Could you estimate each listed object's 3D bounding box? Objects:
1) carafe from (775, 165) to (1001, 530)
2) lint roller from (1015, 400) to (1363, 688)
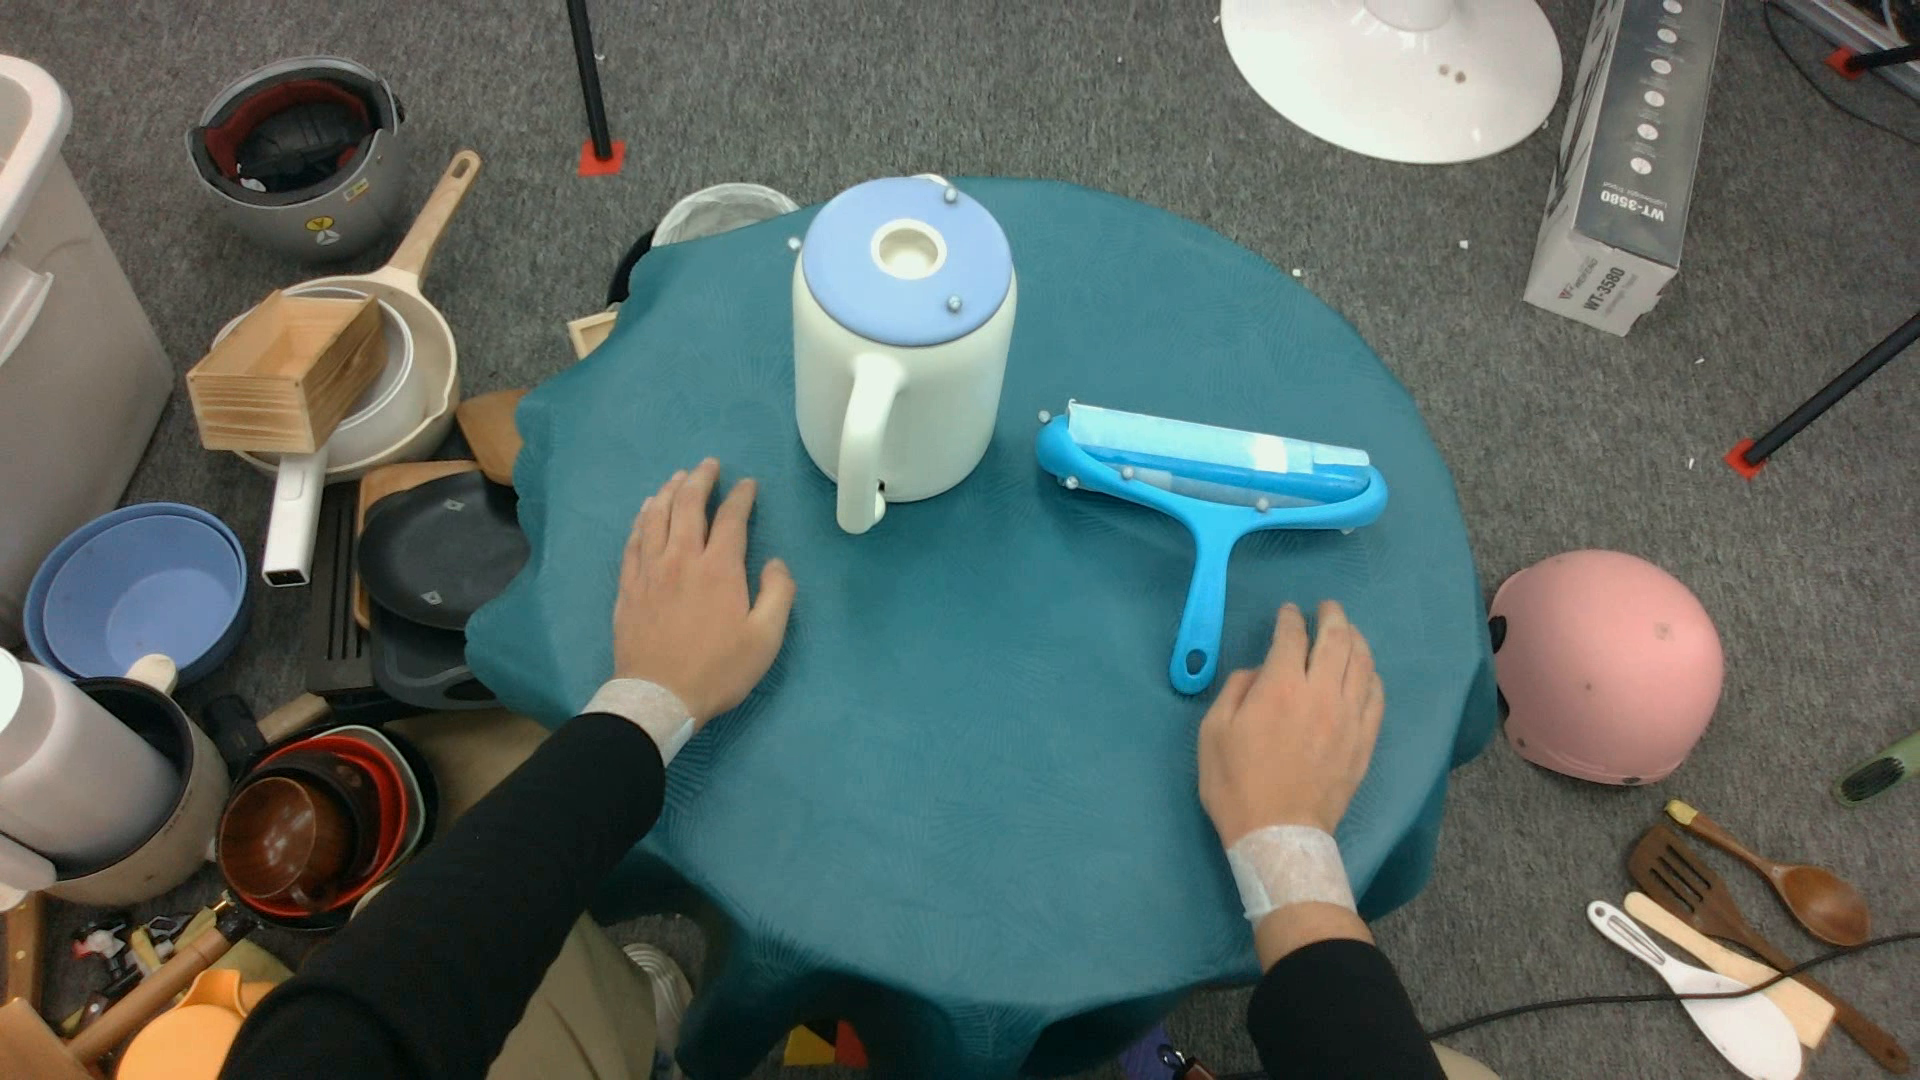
[{"bbox_3d":[-0.051,-0.101,0.830,0.132,0.182,0.192,11,63,0],"label":"carafe"},{"bbox_3d":[0.144,0.000,0.860,0.229,0.067,0.181,9,55,-5],"label":"lint roller"}]
